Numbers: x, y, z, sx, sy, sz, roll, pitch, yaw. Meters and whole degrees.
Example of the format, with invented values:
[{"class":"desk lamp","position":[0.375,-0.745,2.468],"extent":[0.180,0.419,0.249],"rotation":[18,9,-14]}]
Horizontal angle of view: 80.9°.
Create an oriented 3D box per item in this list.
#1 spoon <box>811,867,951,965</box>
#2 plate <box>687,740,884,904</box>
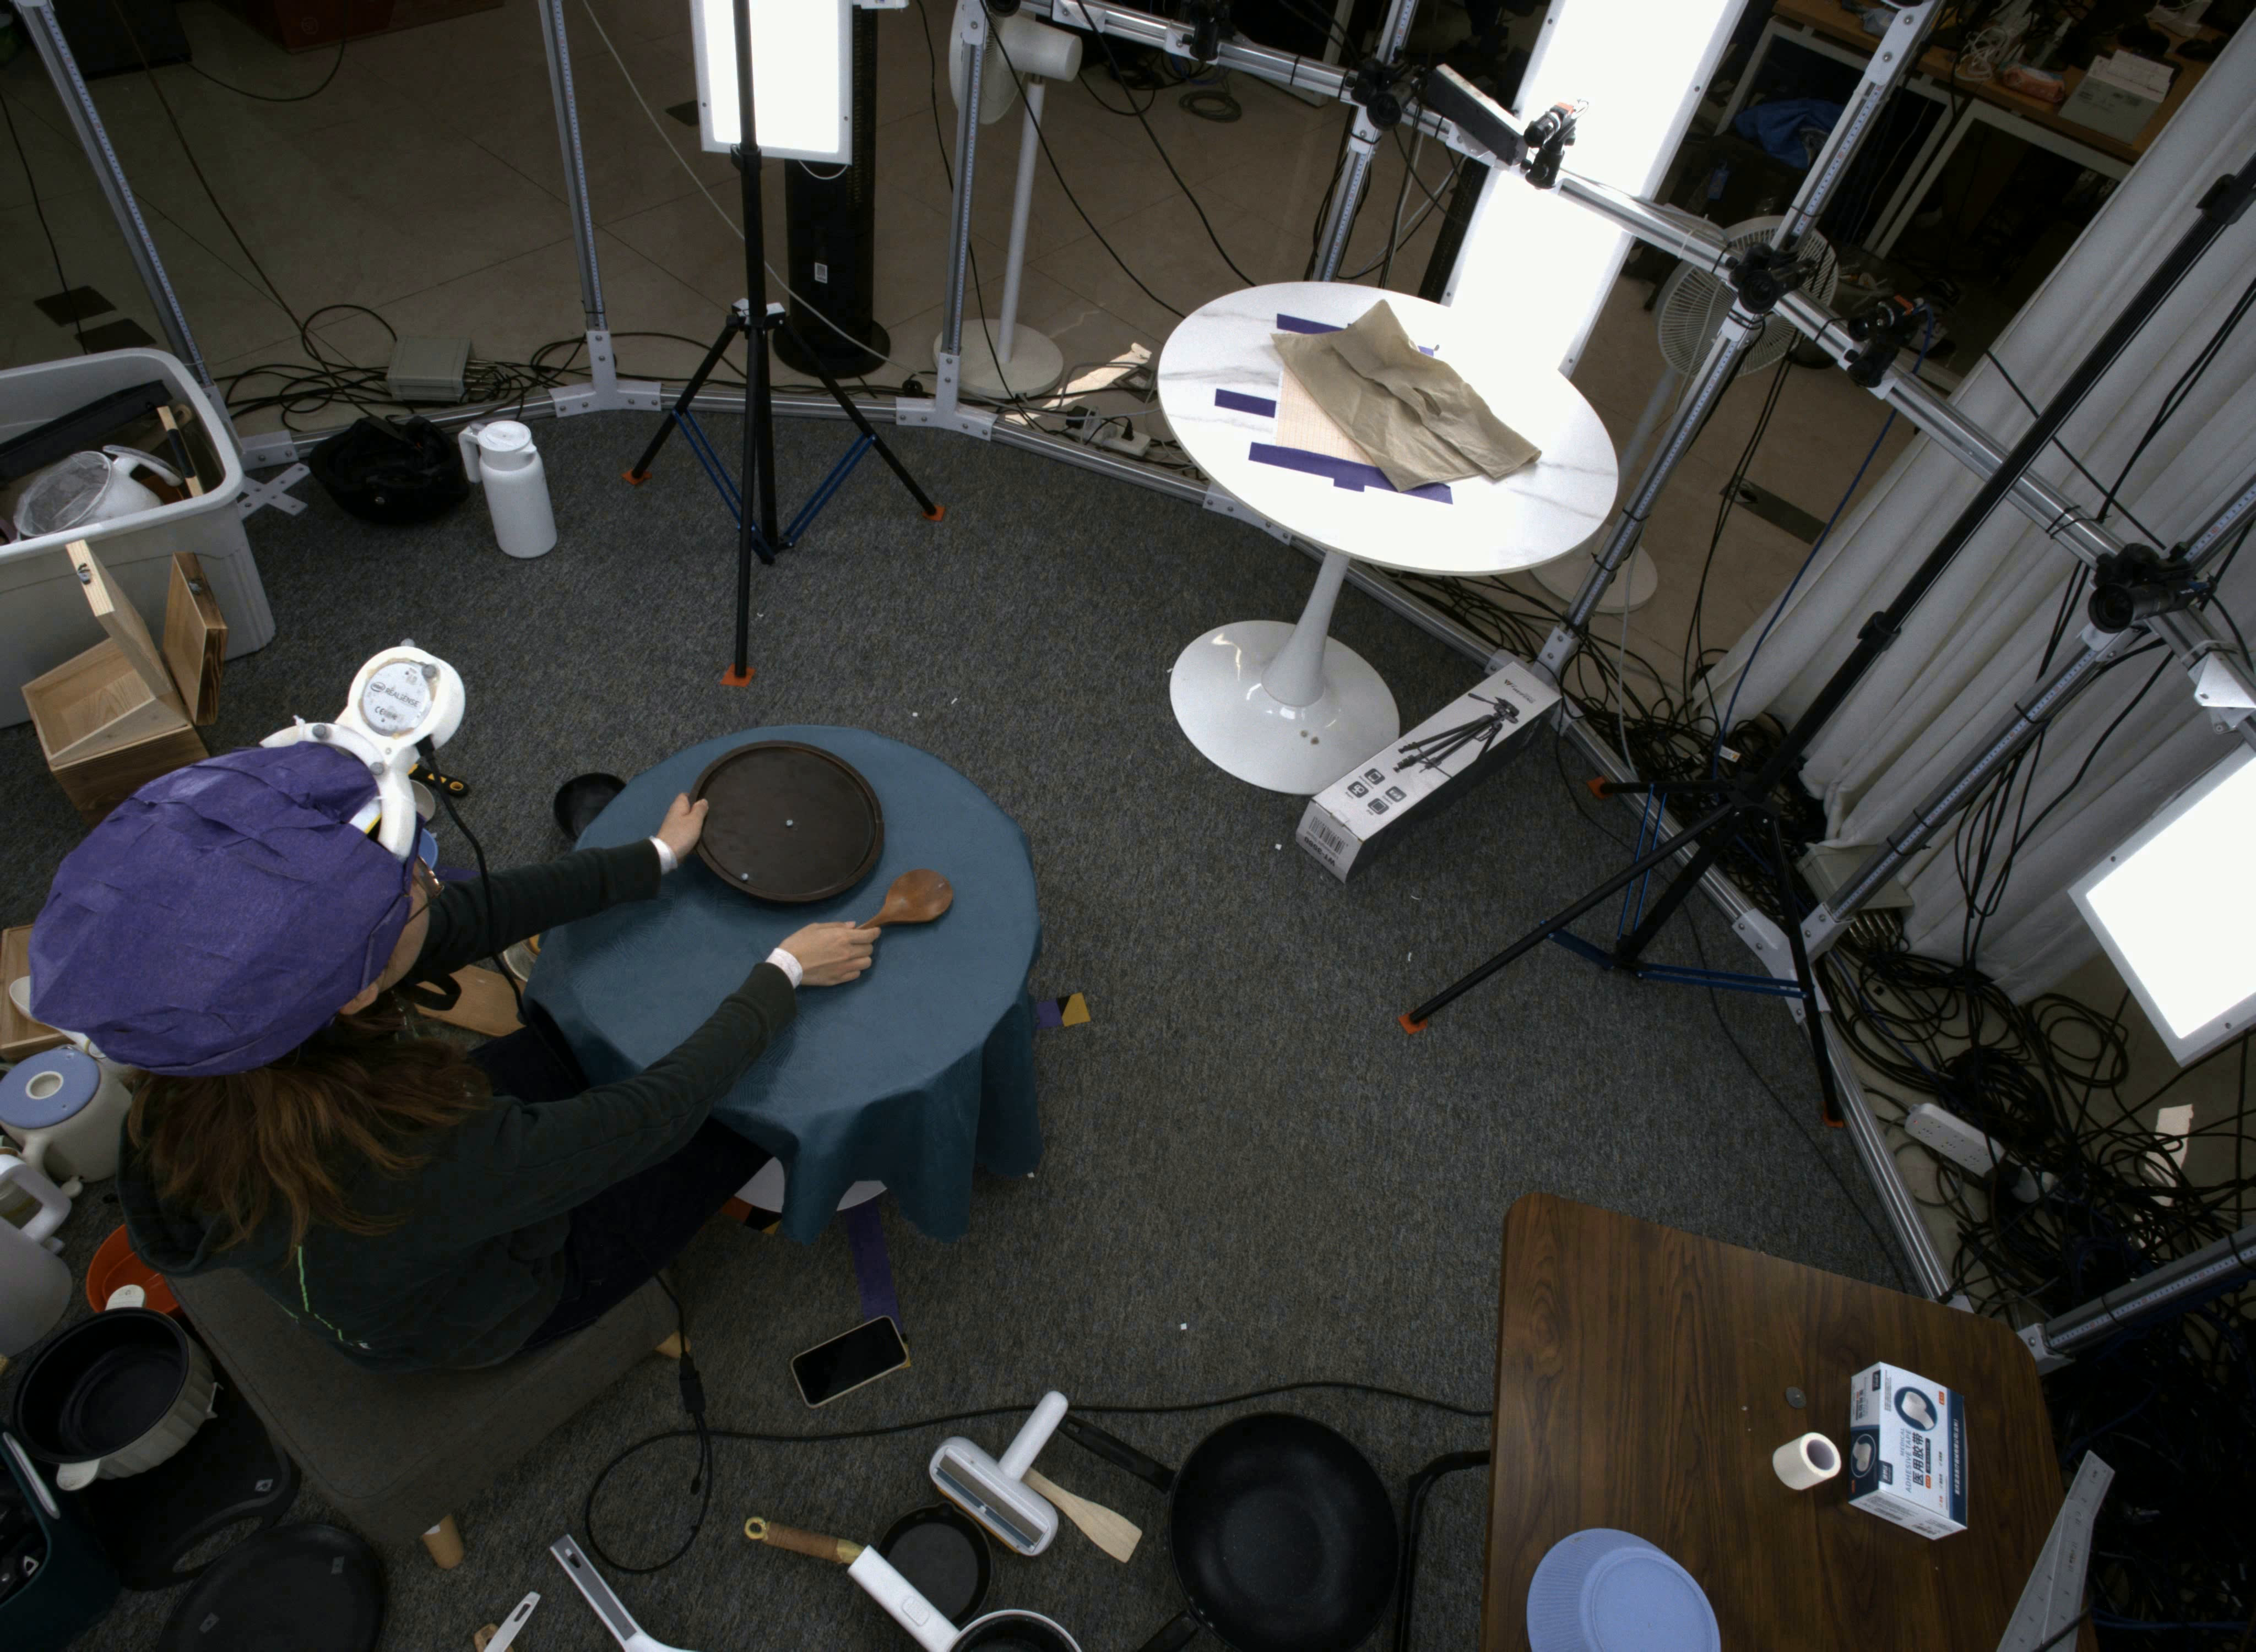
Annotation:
[{"class":"spoon","position":[-0.312,0.115,1.646],"extent":[0.074,0.017,0.217],"rotation":[49,49,10]},{"class":"plate","position":[-0.445,-0.007,1.689],"extent":[0.257,0.029,0.250],"rotation":[14,52,-17]}]
